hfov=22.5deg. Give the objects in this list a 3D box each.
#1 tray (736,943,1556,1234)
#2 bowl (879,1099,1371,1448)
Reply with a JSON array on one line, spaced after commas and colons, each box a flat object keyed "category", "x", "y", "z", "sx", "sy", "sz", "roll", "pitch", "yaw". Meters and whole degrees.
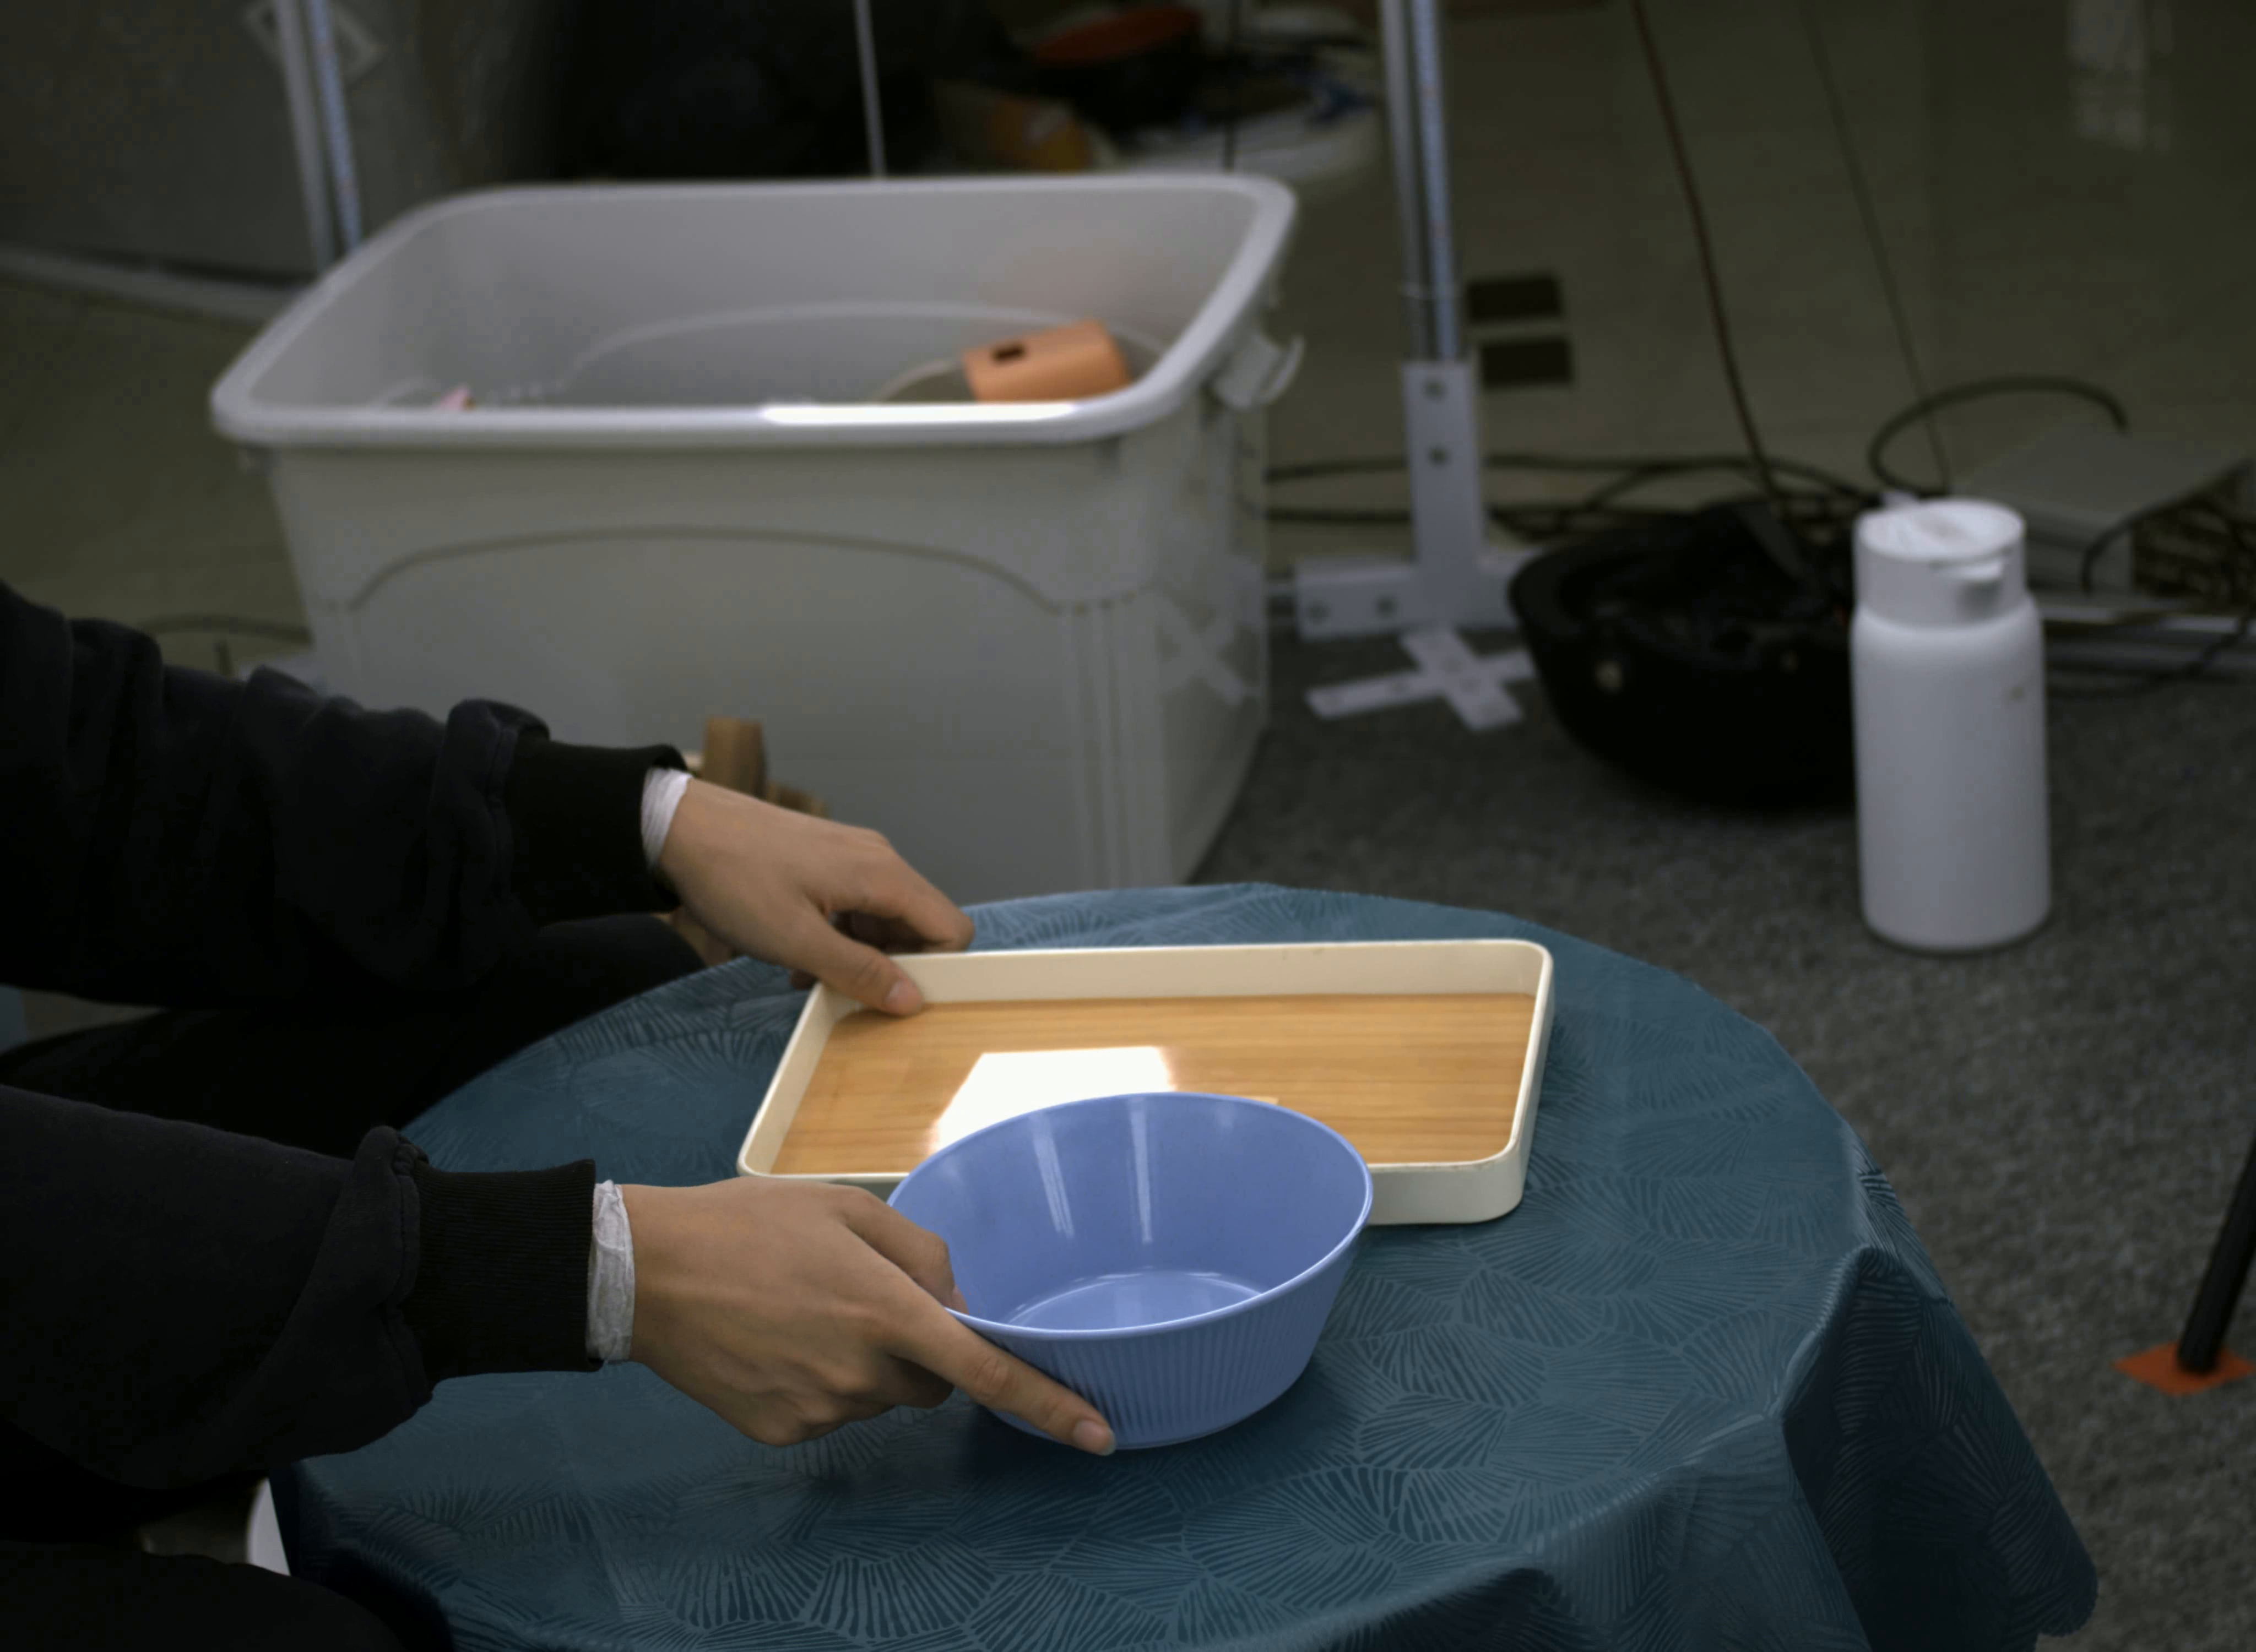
[{"category": "tray", "x": 0.011, "y": 0.101, "z": 2.200, "sx": 0.300, "sy": 0.028, "sz": 0.189, "roll": -1, "pitch": 25, "yaw": 10}, {"category": "bowl", "x": 0.002, "y": 0.164, "z": 2.013, "sx": 0.176, "sy": 0.071, "sz": 0.173, "roll": -5, "pitch": 24, "yaw": 2}]
